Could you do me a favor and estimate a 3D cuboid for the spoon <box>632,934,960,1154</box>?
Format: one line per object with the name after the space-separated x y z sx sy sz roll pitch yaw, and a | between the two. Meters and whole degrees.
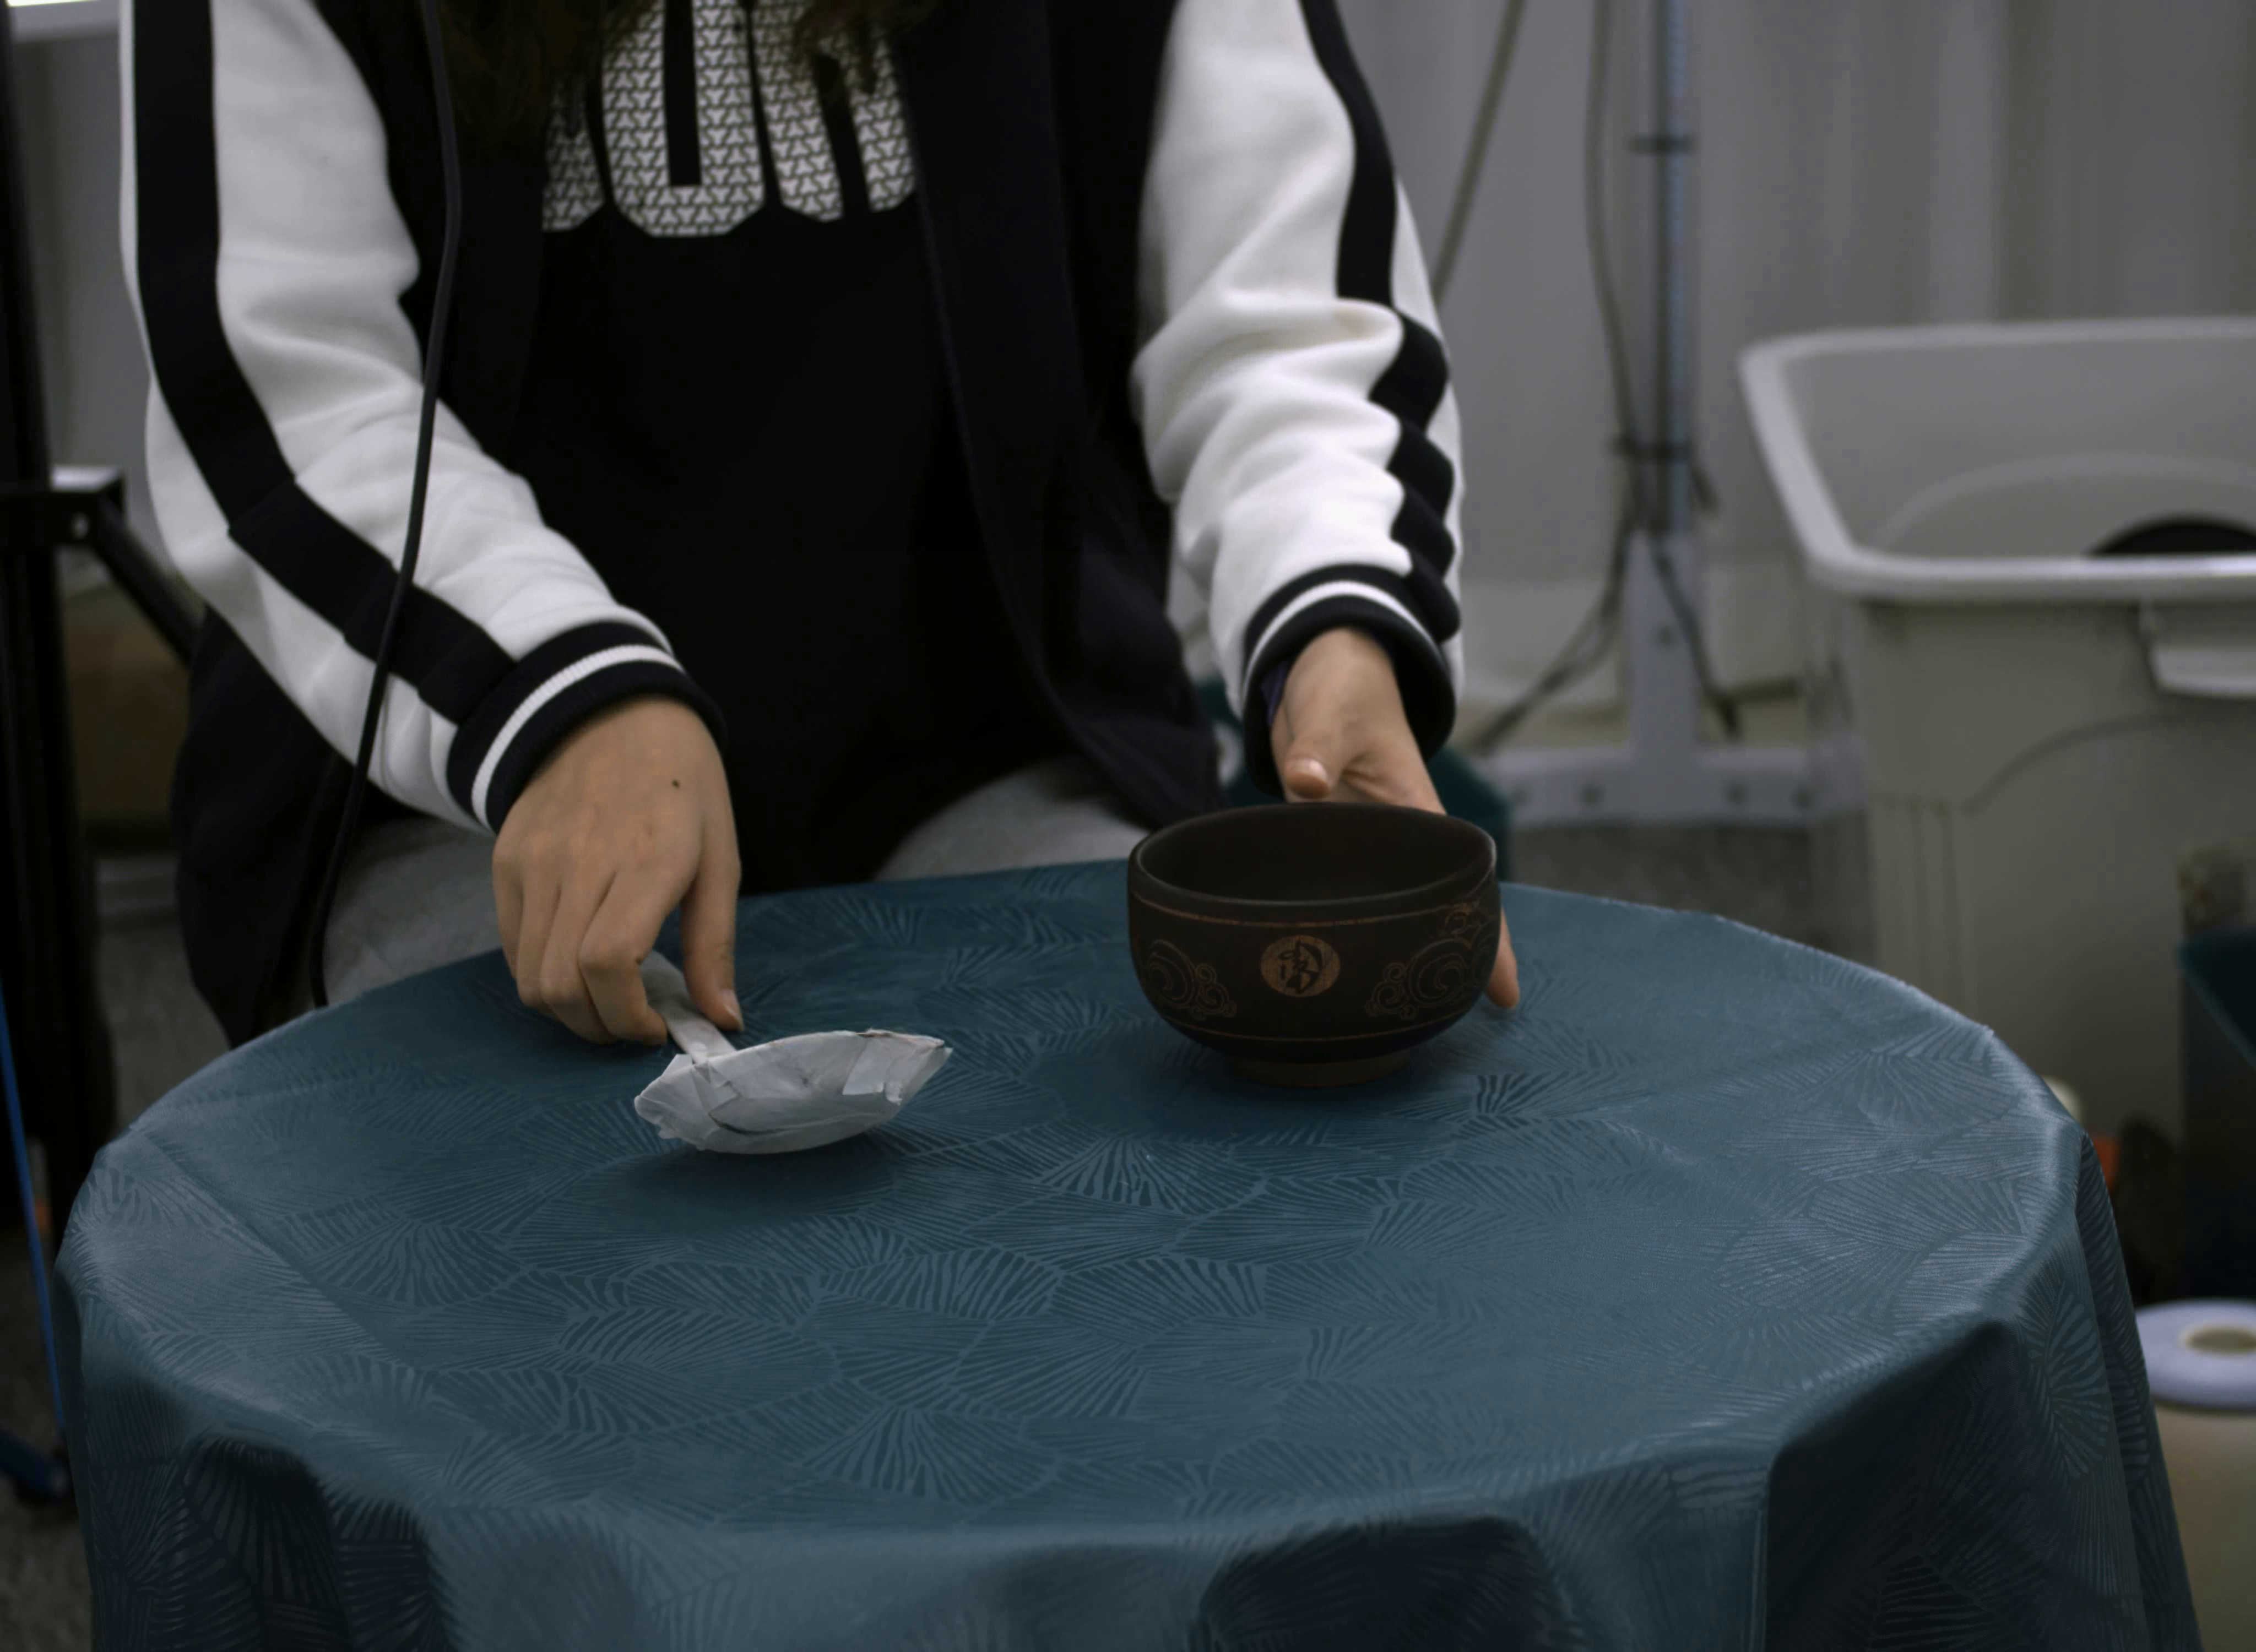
-0.122 0.050 1.678 0.099 0.059 0.281 -4 16 -14 | spoon

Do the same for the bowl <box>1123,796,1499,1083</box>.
0.058 0.039 1.658 0.117 0.070 0.118 -2 15 -1 | bowl
